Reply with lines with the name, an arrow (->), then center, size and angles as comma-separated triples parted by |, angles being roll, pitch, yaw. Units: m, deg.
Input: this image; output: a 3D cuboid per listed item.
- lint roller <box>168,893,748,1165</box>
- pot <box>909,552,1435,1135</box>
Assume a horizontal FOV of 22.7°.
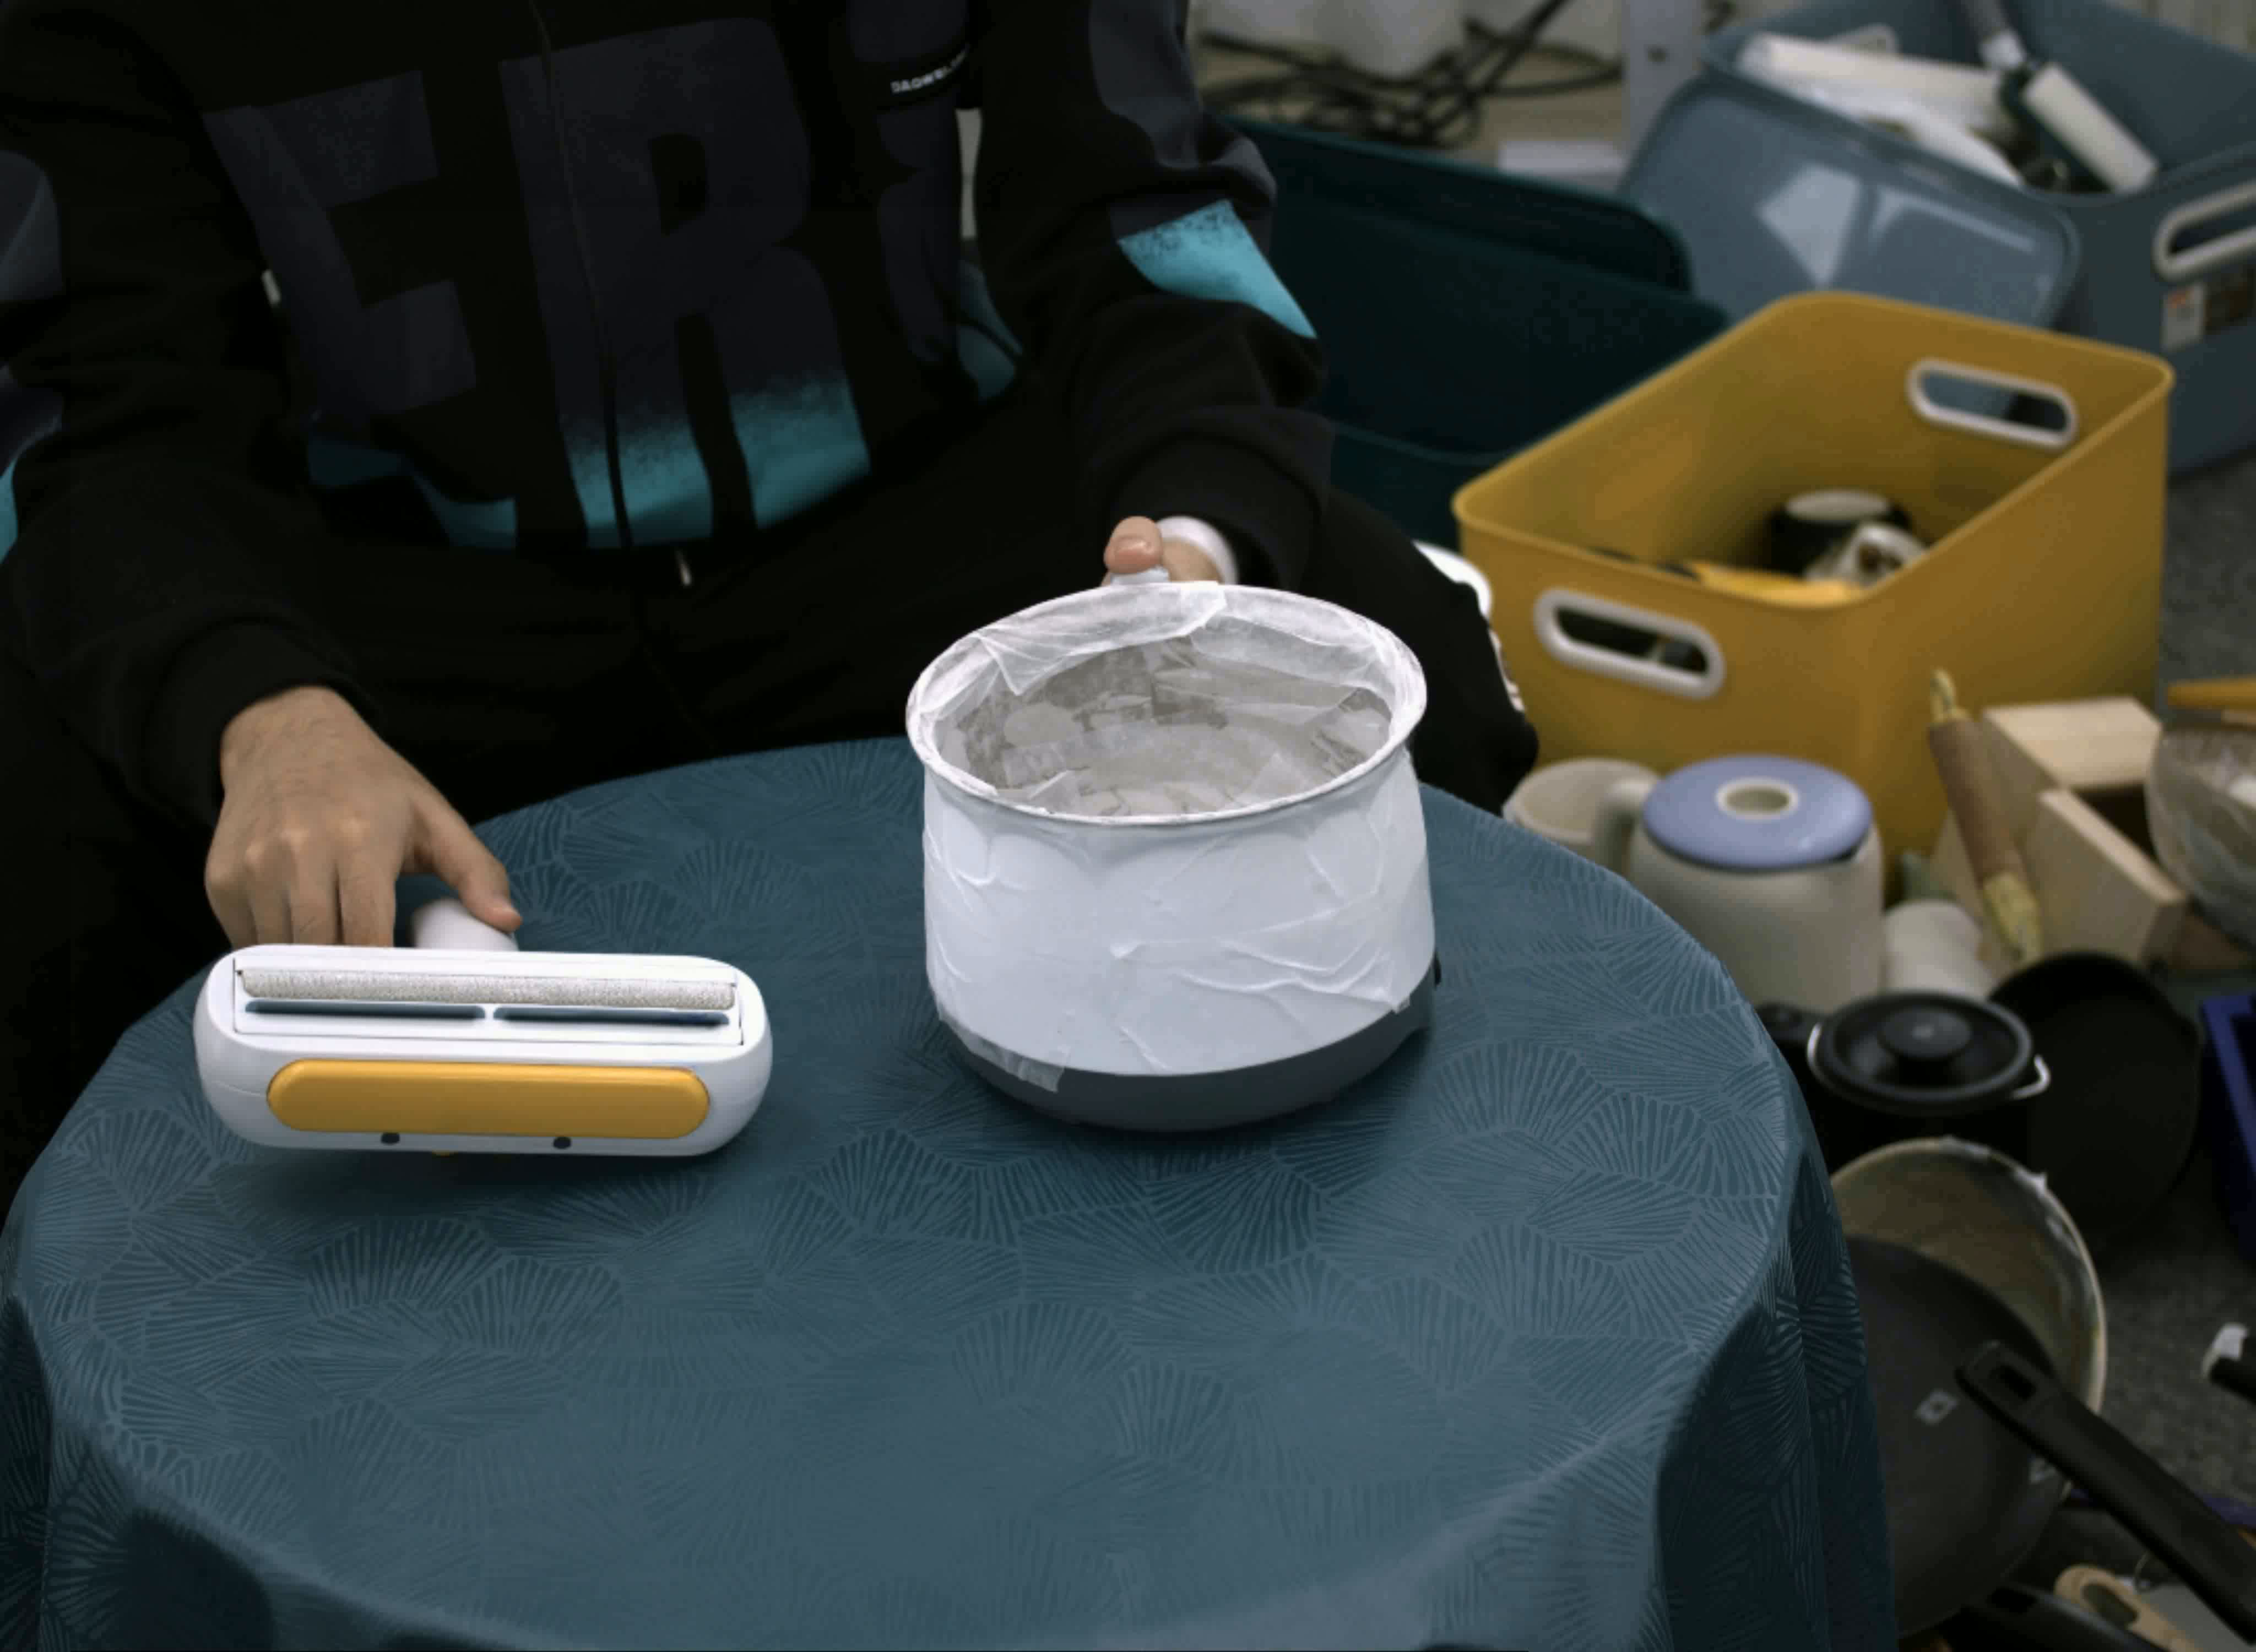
lint roller -> -0.229, 0.057, 1.935 | 0.192, 0.073, 0.195 | 0, 25, -6
pot -> 0.013, -0.001, 1.945 | 0.178, 0.135, 0.237 | -4, 28, -5
